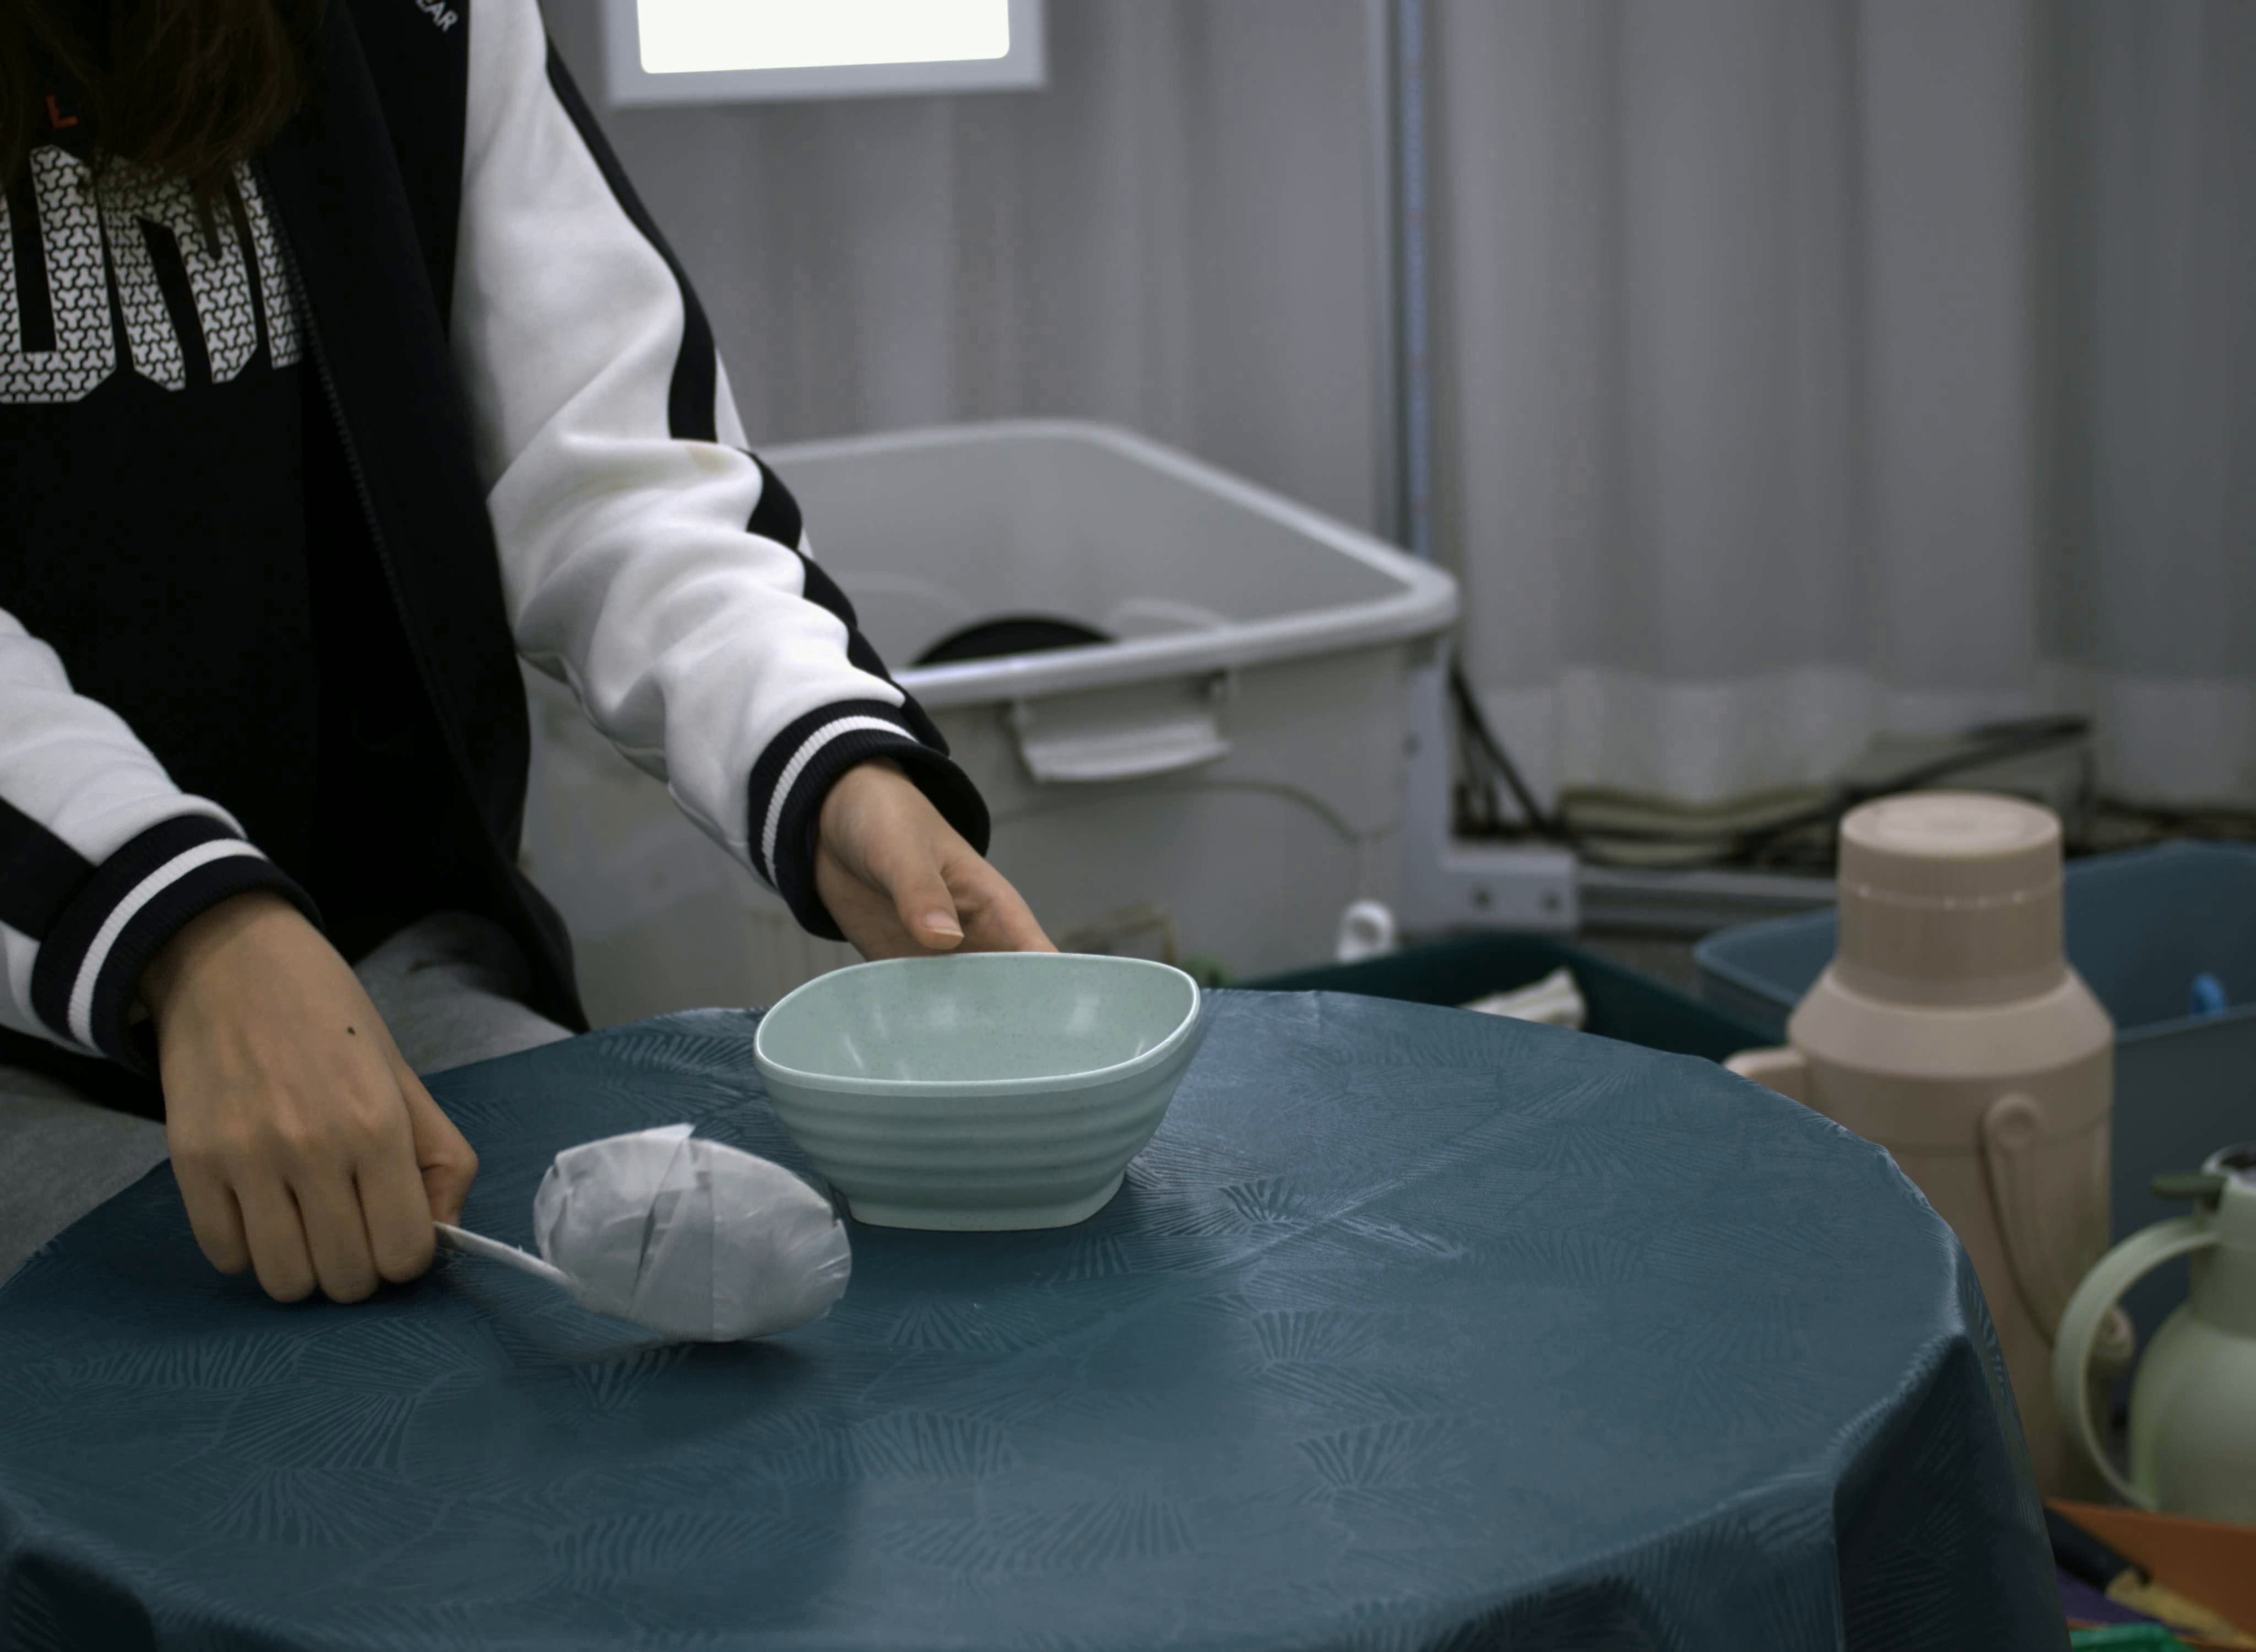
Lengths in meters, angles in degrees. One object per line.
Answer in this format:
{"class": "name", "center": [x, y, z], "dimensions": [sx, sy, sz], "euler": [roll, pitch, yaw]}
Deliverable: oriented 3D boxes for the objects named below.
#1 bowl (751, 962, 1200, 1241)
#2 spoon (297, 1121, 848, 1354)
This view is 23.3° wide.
{"class": "bowl", "center": [-0.046, 0.090, 1.718], "dimensions": [0.151, 0.058, 0.152], "euler": [-3, 14, 0]}
{"class": "spoon", "center": [-0.175, 0.114, 1.657], "dimensions": [0.059, 0.099, 0.278], "euler": [-51, 26, -17]}
